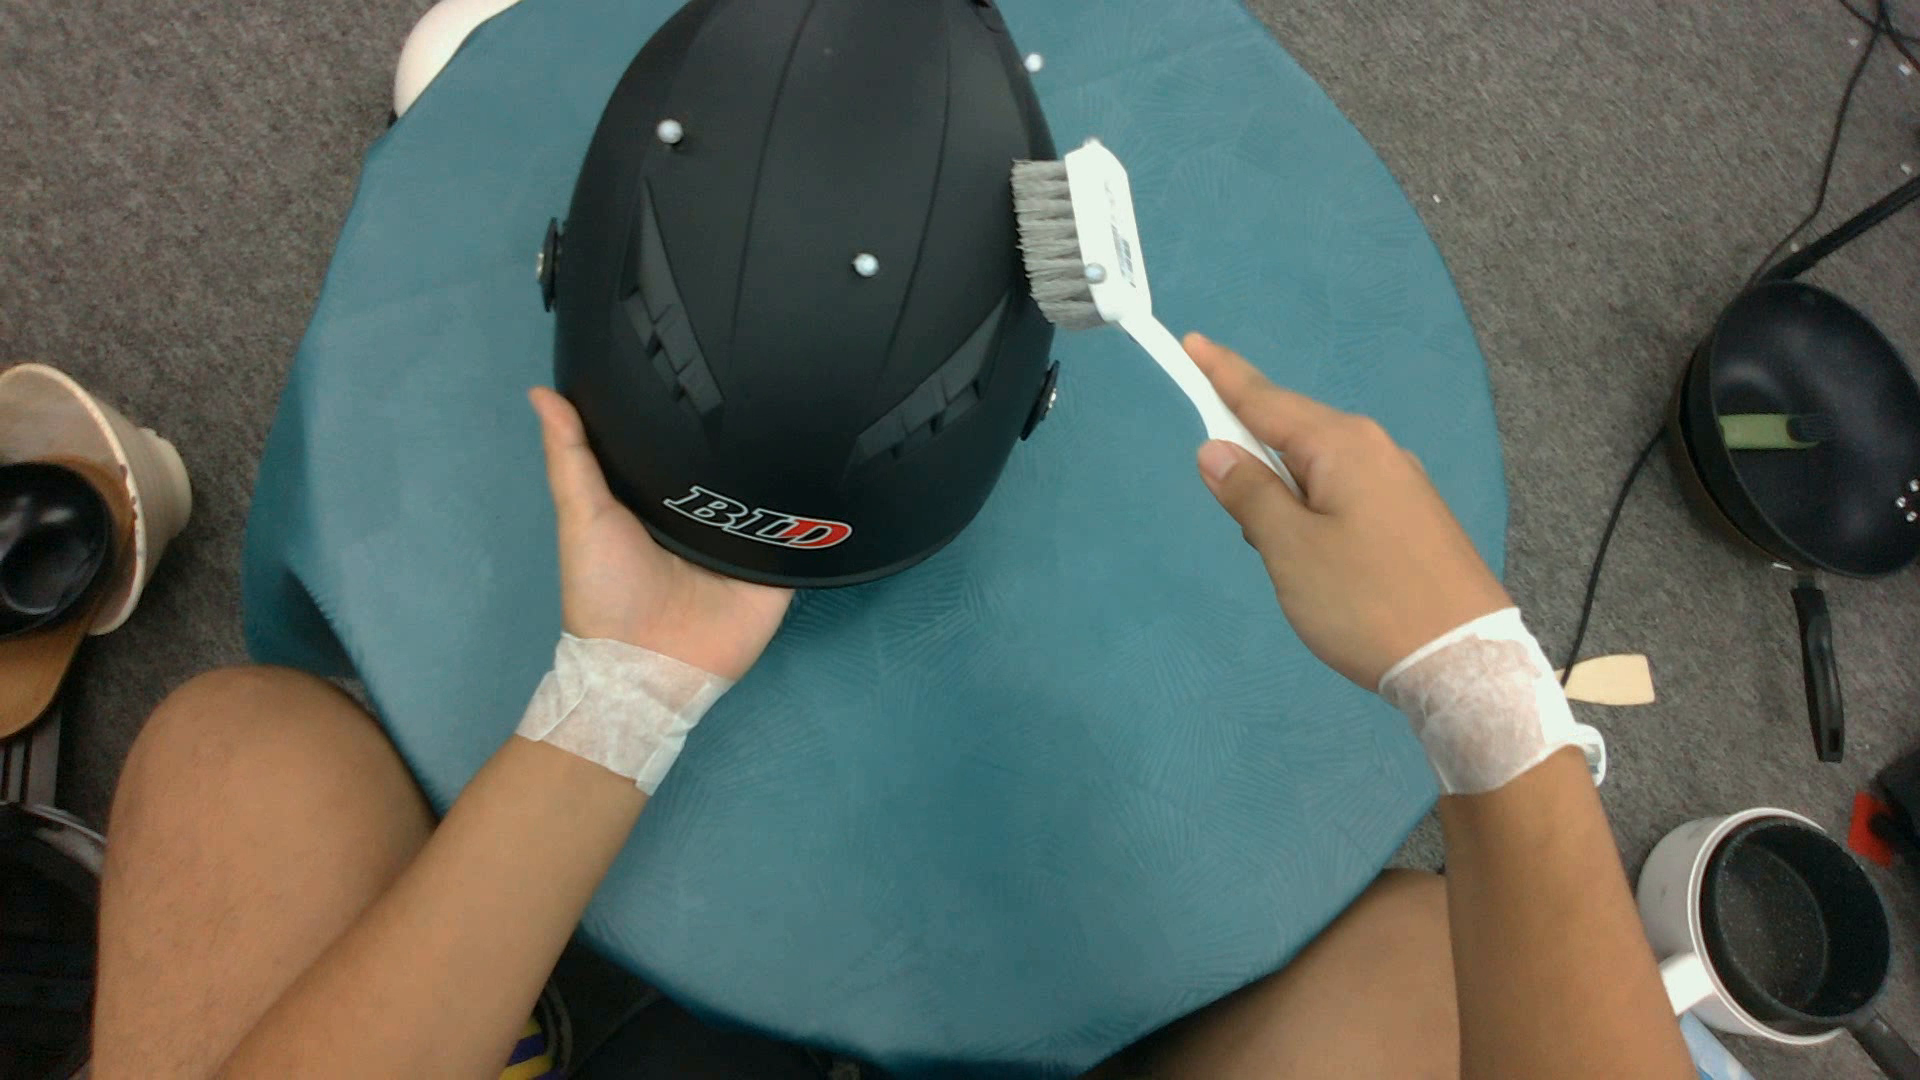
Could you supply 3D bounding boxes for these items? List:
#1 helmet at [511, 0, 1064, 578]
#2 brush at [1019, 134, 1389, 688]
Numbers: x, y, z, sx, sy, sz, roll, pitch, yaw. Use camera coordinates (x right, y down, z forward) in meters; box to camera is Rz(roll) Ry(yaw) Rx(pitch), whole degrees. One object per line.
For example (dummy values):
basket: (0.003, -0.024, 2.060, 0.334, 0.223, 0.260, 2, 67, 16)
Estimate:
helmet: (-0.059, -0.137, 0.584, 0.247, 0.171, 0.278, 16, 58, -9)
brush: (0.082, -0.048, 0.510, 0.050, 0.034, 0.244, -32, 71, 24)
